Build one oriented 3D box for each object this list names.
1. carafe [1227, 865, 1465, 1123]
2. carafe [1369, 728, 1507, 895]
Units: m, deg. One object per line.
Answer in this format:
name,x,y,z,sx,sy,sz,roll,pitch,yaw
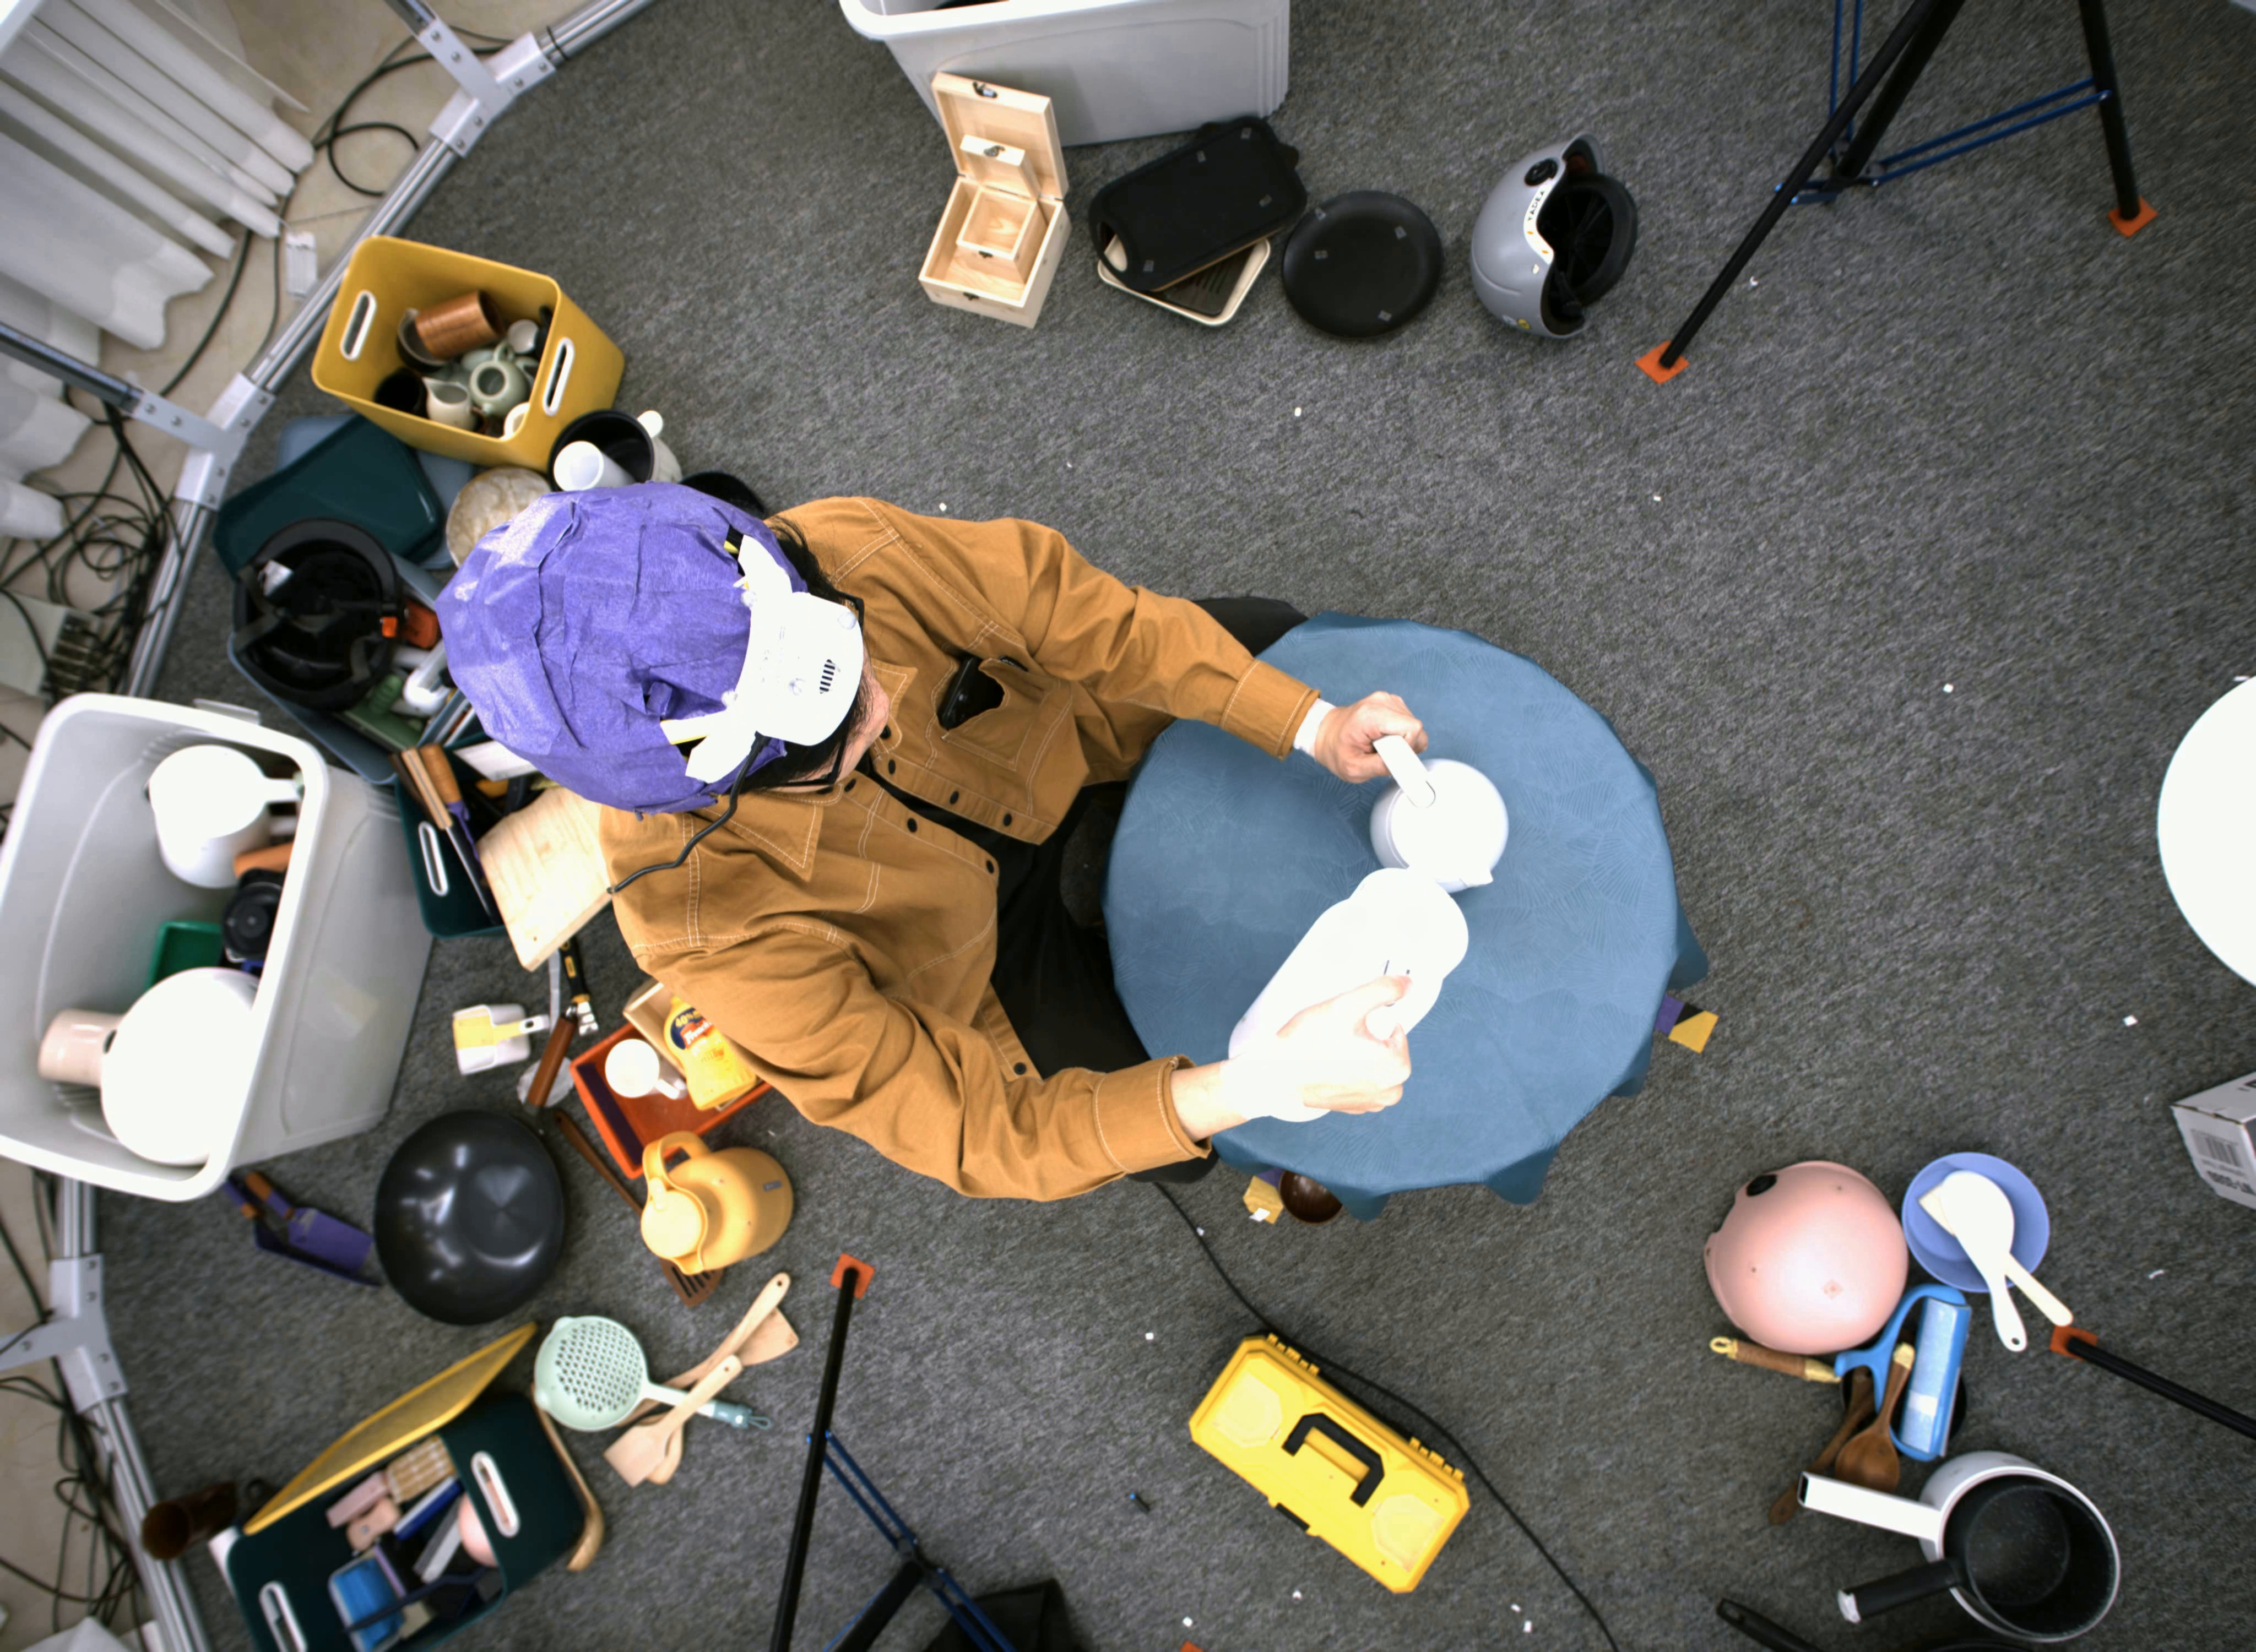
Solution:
carafe,0.178,0.164,1.181,0.124,0.275,0.168,27,52,-3
carafe,0.280,-0.016,1.291,0.133,0.247,0.167,-34,84,10
